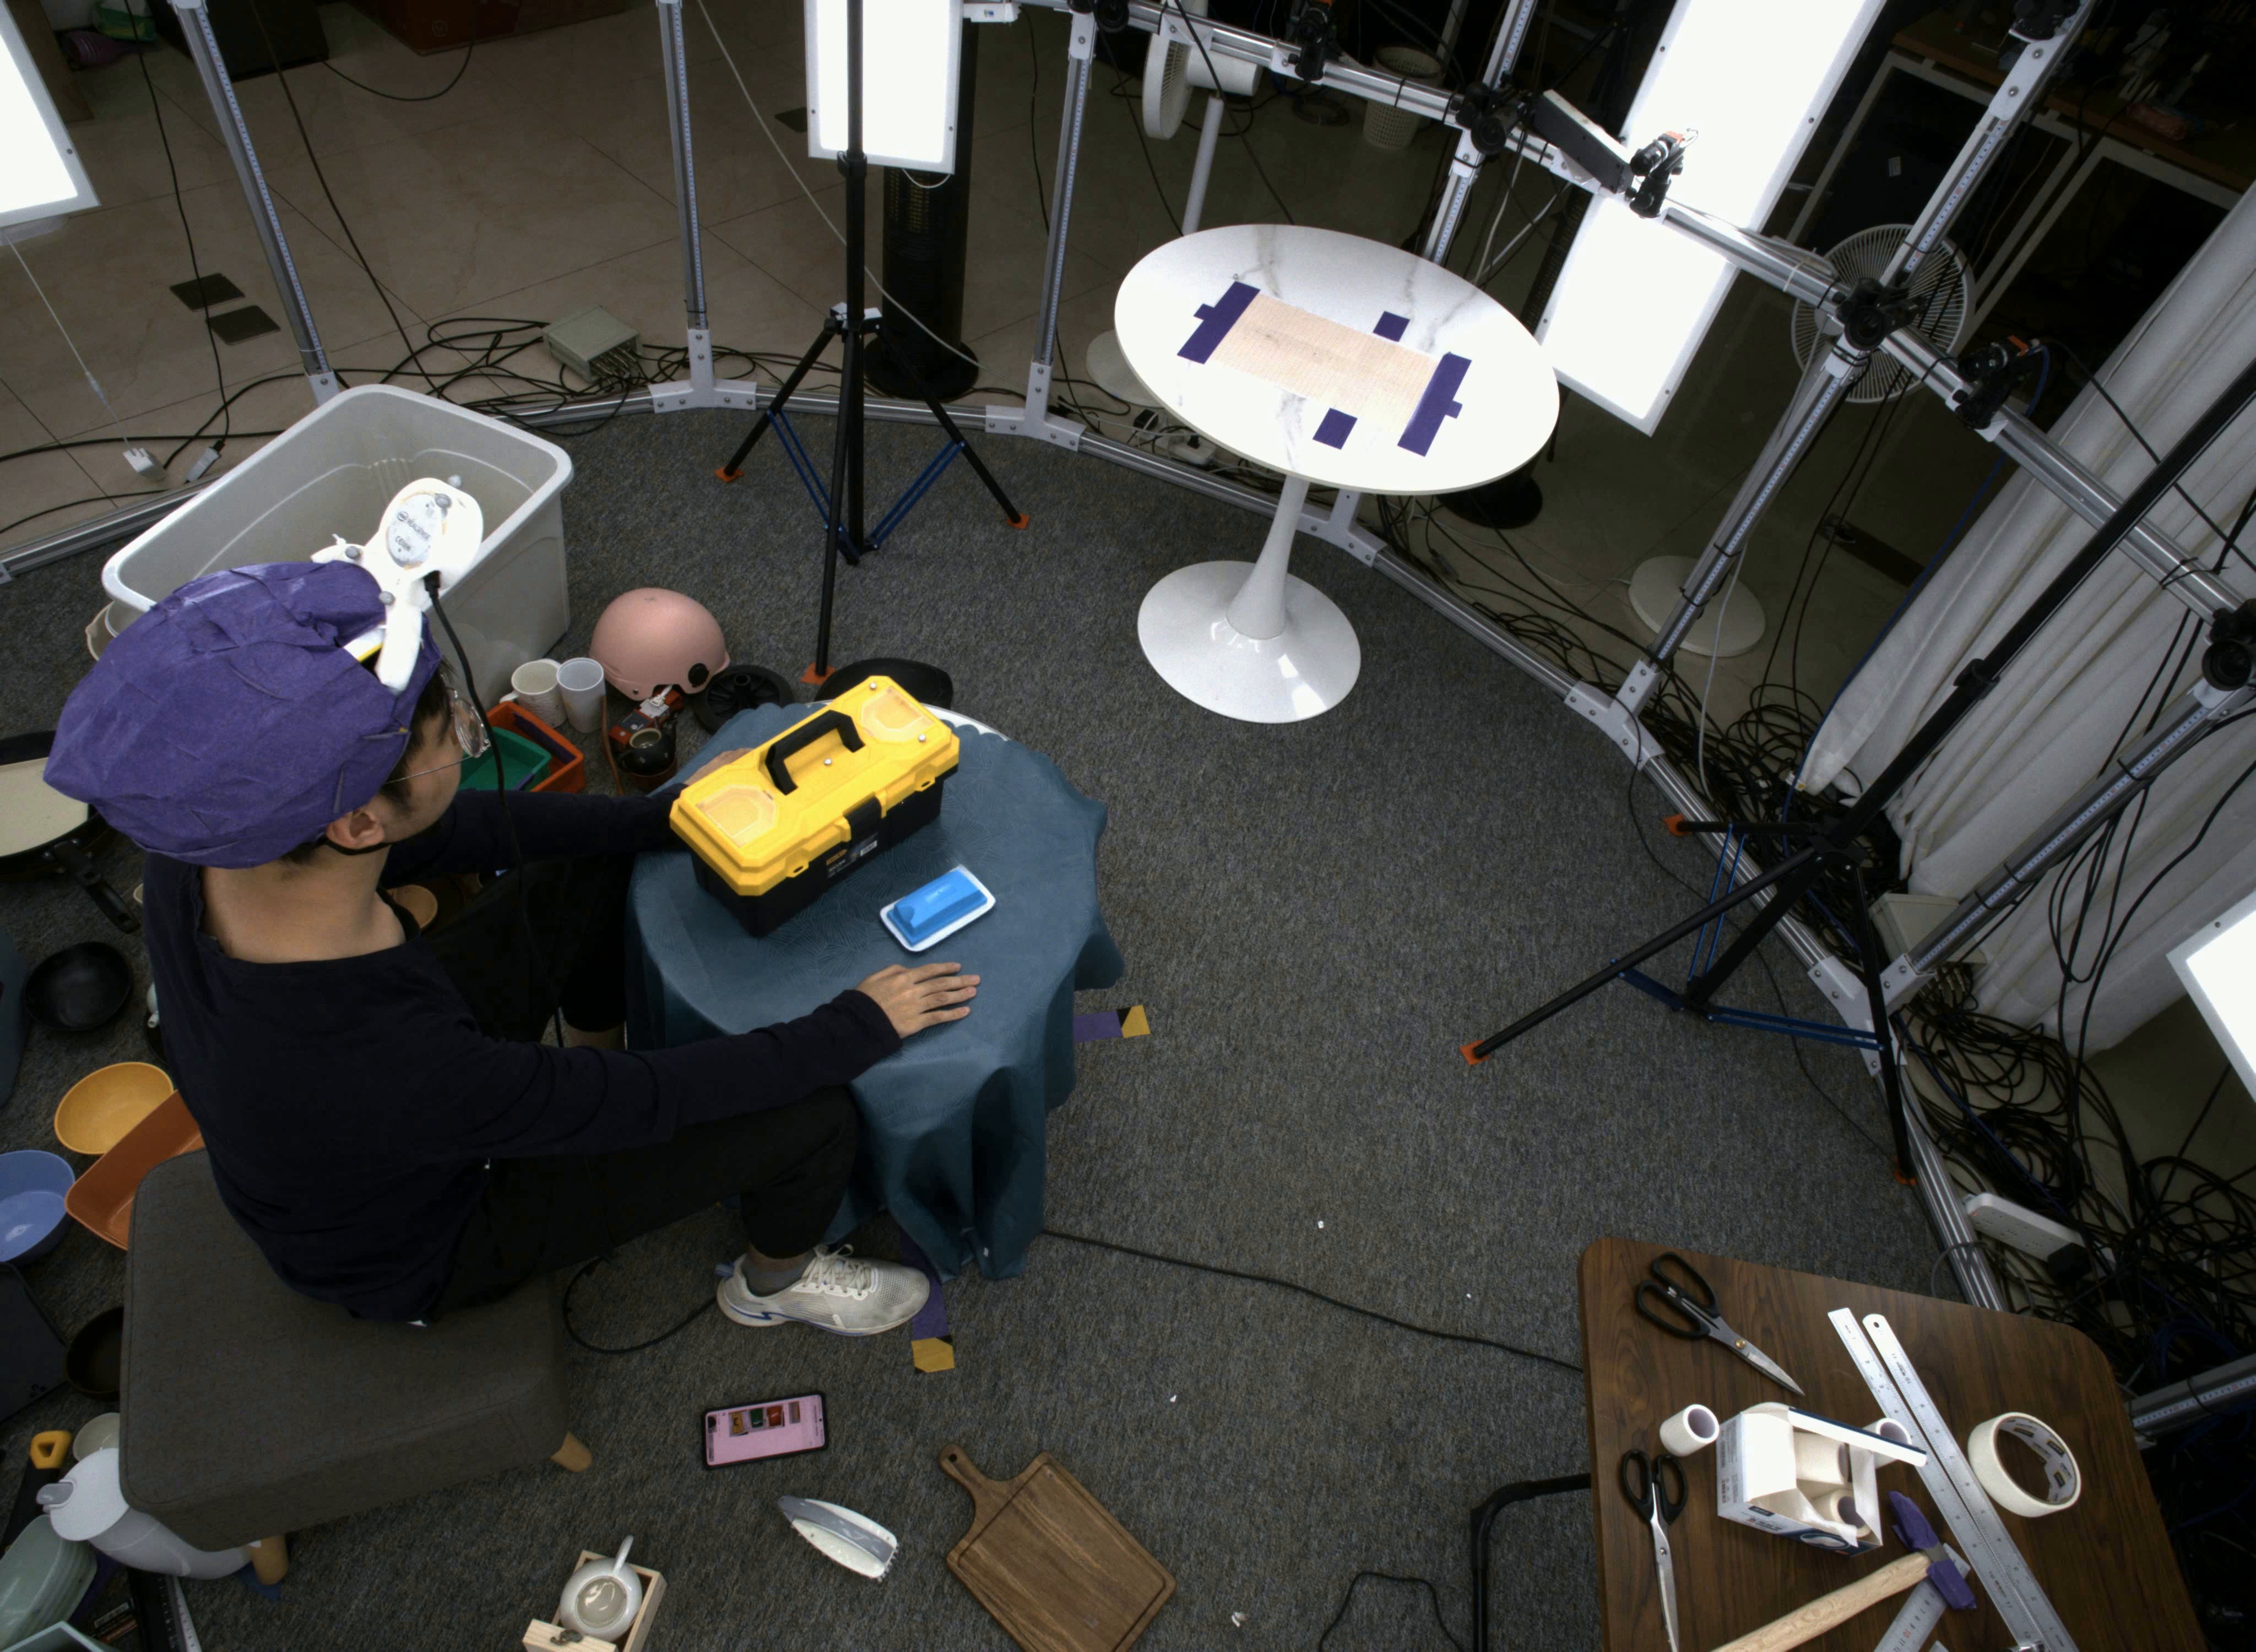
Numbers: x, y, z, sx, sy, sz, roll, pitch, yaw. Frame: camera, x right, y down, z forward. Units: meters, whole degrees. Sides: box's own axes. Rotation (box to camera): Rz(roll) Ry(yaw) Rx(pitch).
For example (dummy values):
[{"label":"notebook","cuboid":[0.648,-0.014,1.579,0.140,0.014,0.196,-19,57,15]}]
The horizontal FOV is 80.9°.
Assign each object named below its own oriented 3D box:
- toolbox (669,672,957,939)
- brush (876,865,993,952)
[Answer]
[{"label":"toolbox","cuboid":[-0.388,-0.027,1.642,0.177,0.176,0.352,39,55,18]},{"label":"brush","cuboid":[-0.246,0.096,1.659,0.144,0.057,0.081,-28,60,-31]}]
